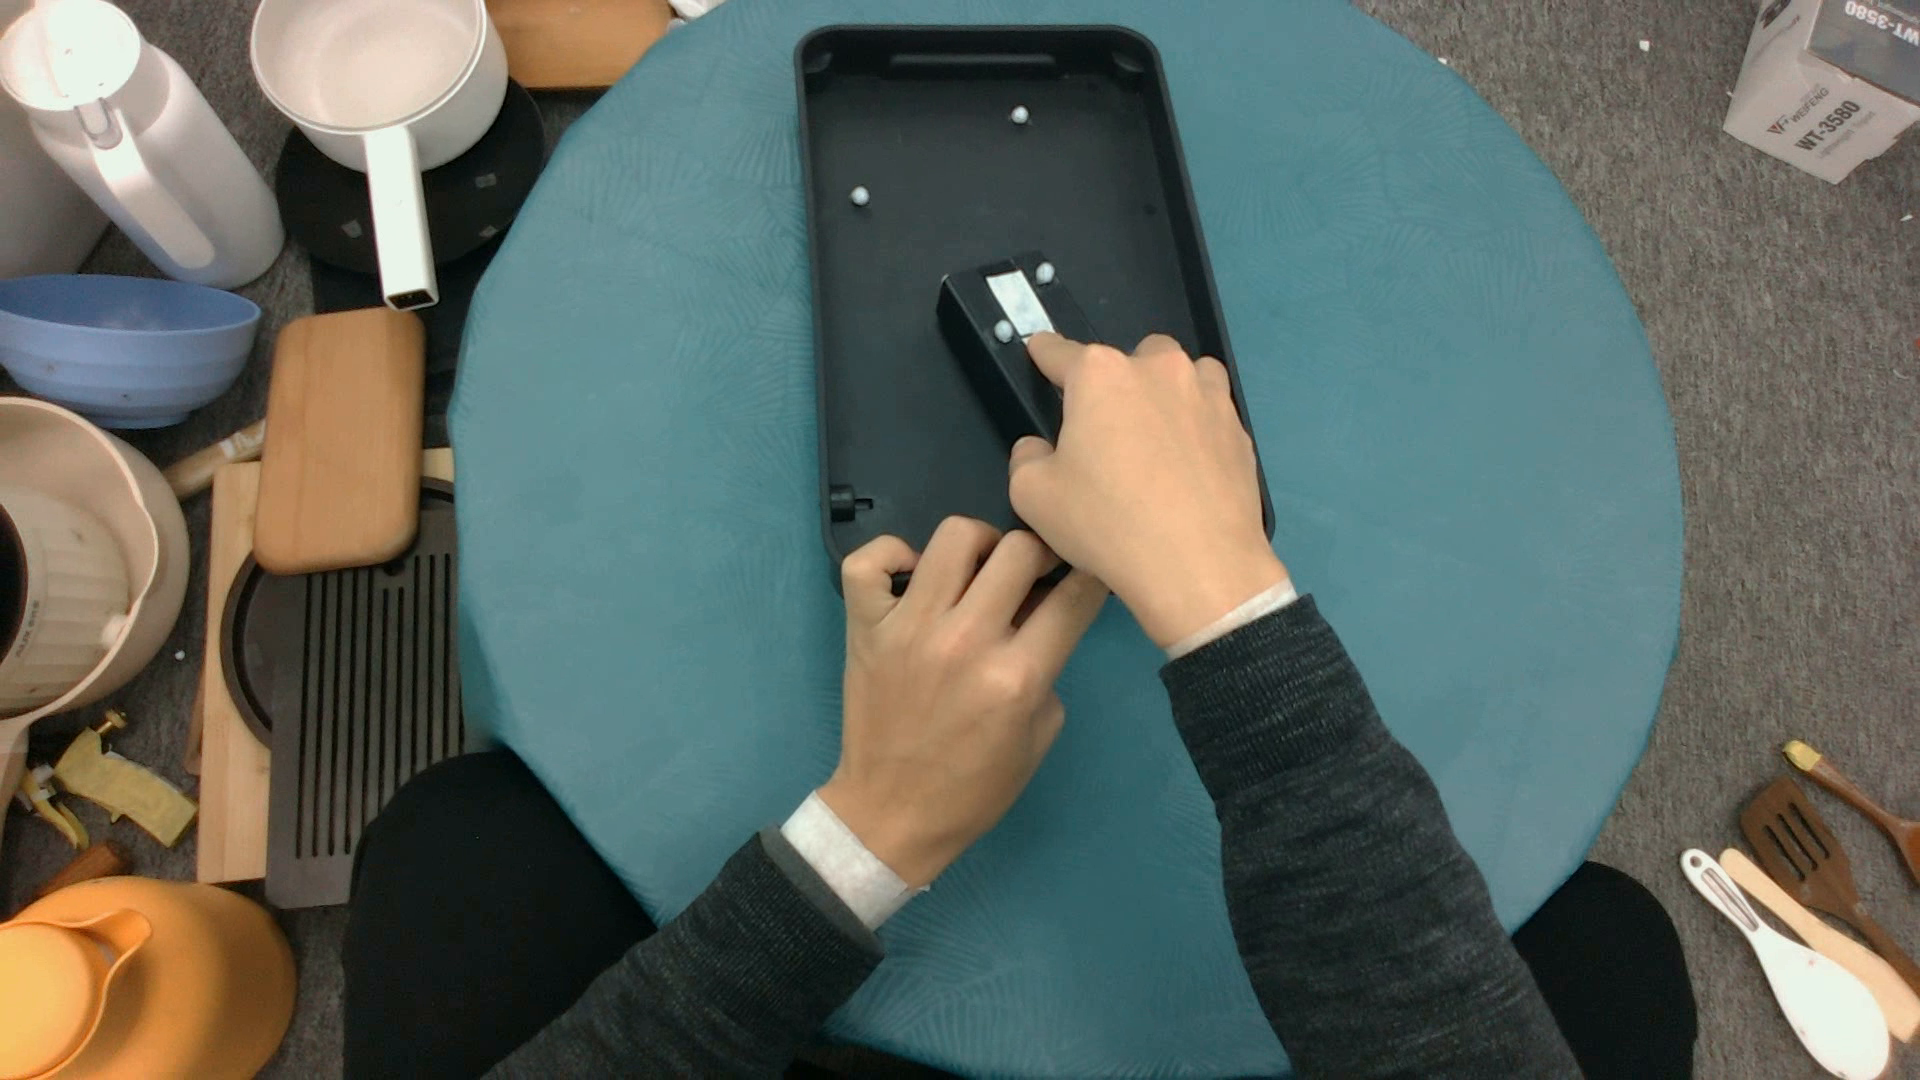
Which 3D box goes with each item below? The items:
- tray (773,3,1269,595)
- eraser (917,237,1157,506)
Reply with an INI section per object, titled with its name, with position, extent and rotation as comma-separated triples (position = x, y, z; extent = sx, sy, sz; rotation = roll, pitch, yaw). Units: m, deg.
[tray]
position = 0.016, -0.125, 0.631
extent = 0.184, 0.037, 0.319
rotation = -4, 60, -9
[eraser]
position = 0.030, -0.075, 0.598
extent = 0.053, 0.030, 0.126
rotation = -21, 61, -18
